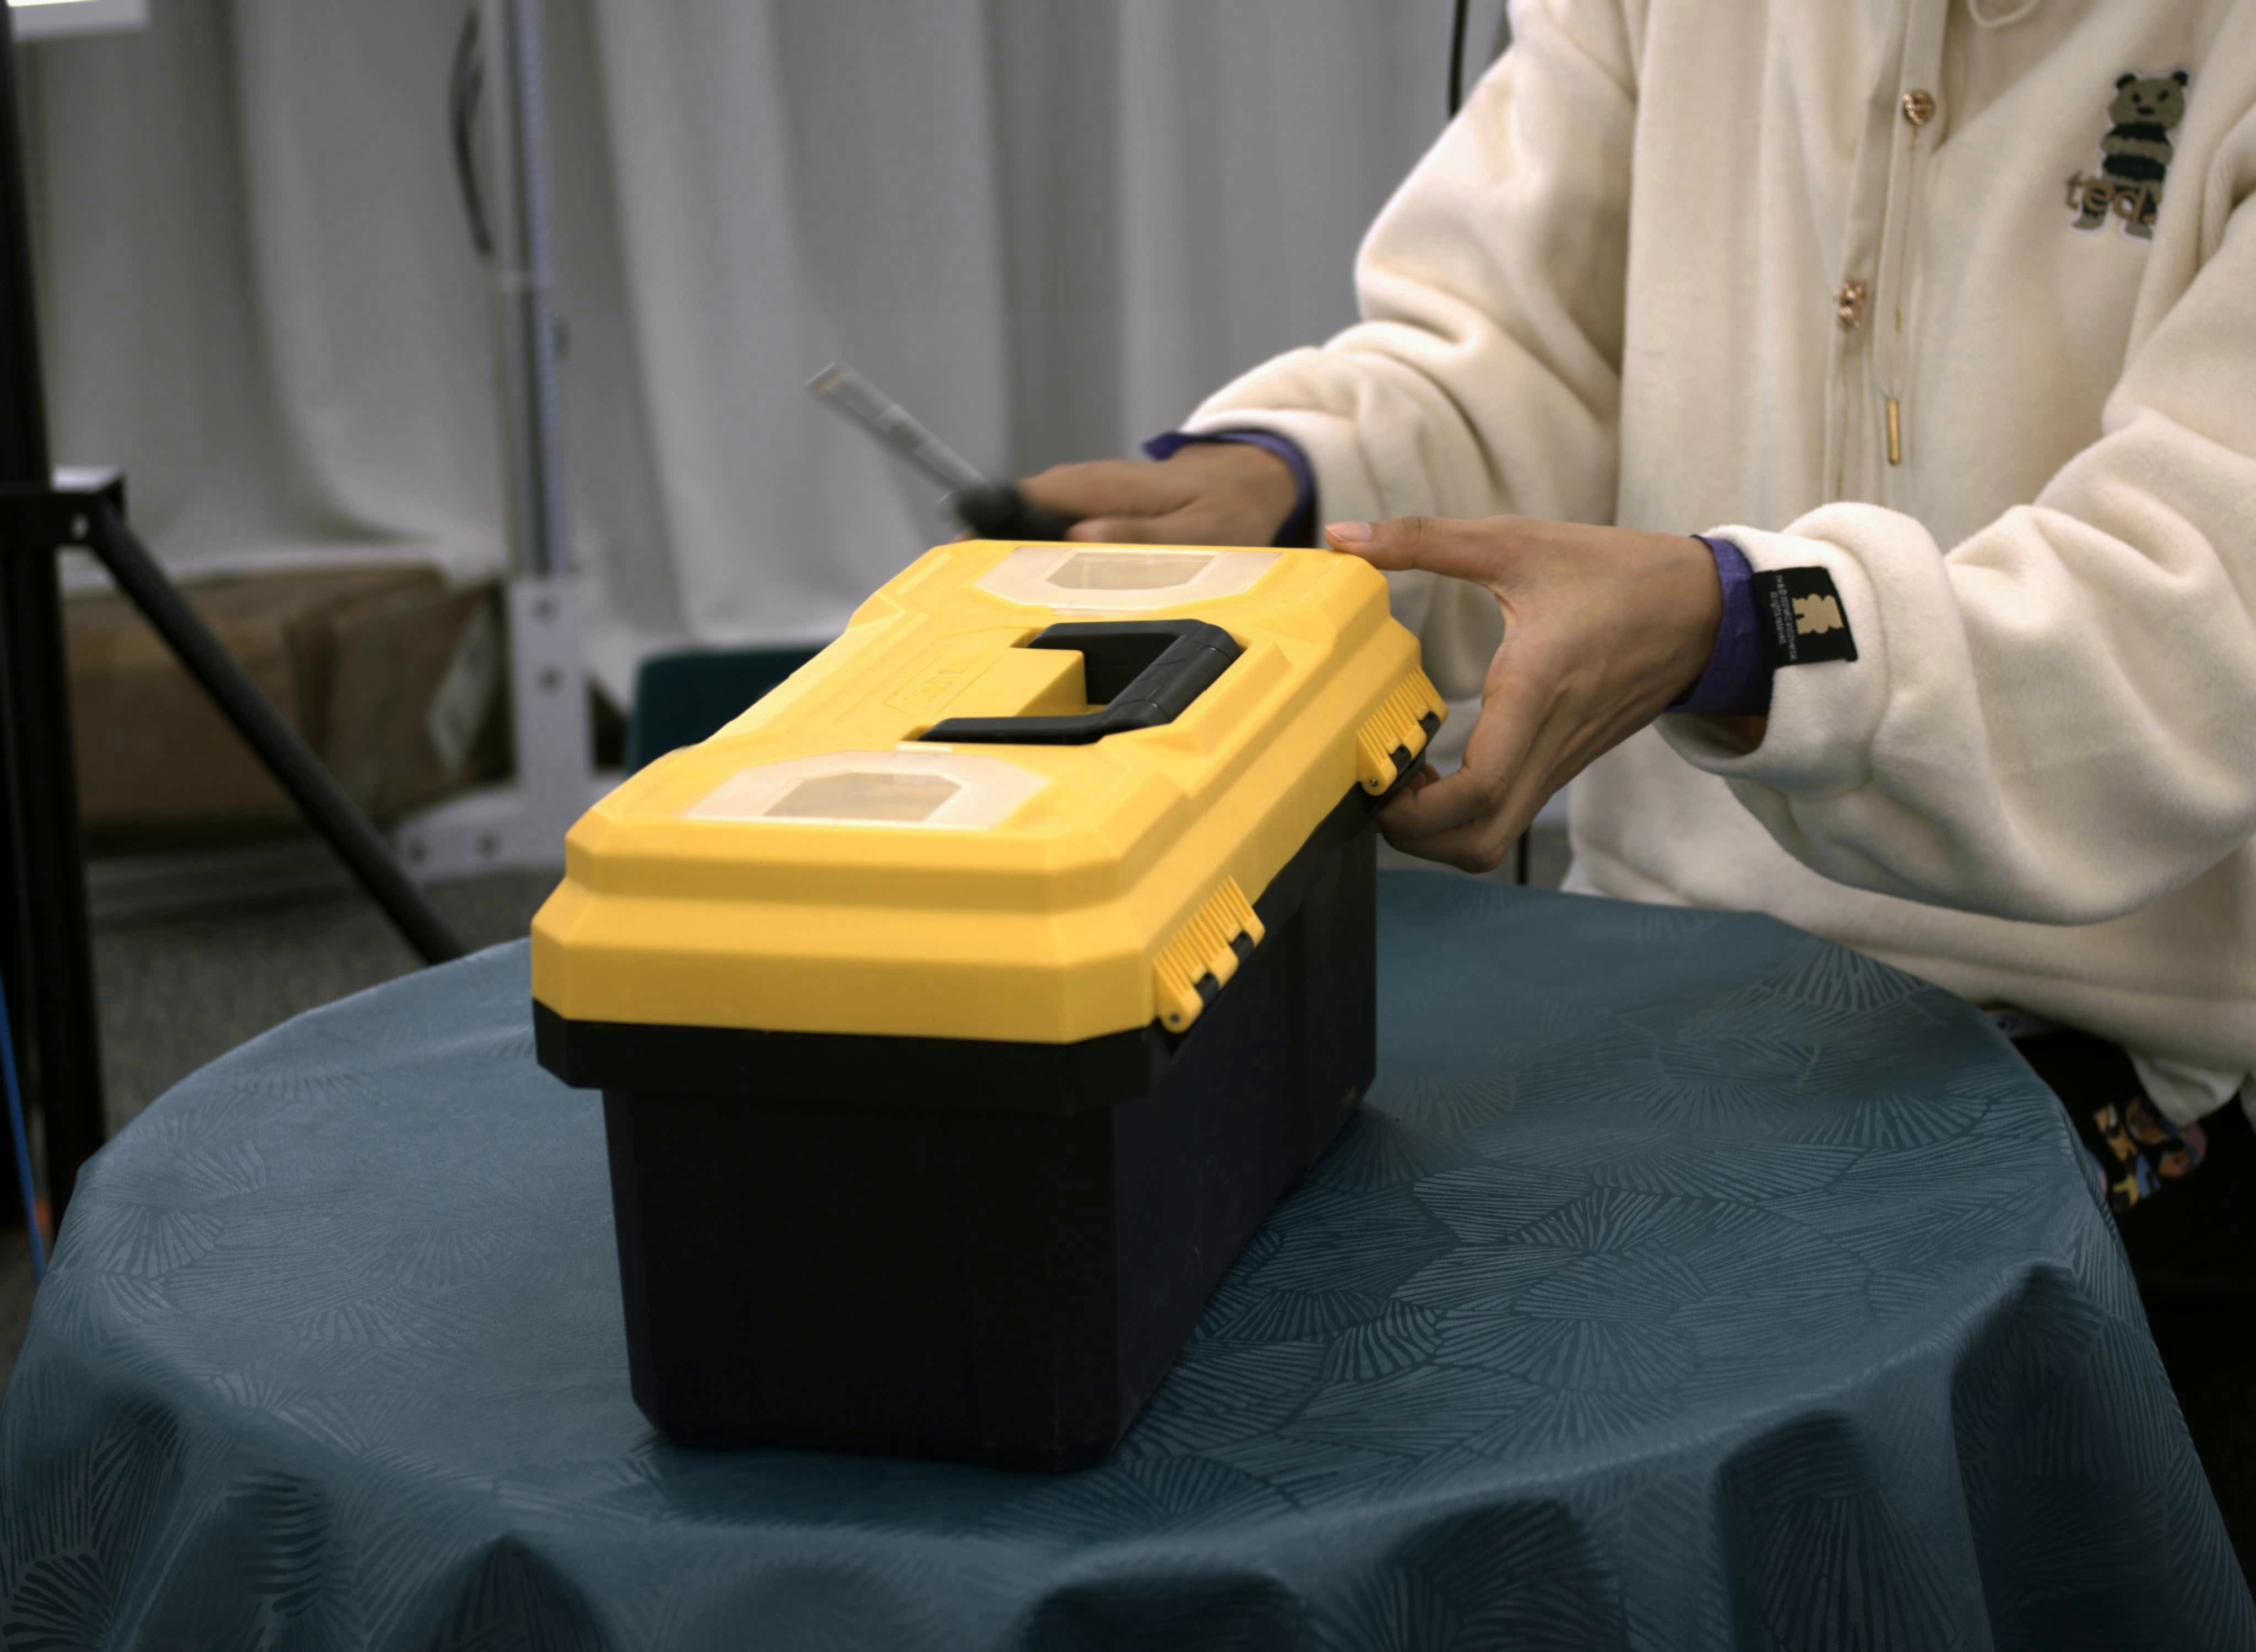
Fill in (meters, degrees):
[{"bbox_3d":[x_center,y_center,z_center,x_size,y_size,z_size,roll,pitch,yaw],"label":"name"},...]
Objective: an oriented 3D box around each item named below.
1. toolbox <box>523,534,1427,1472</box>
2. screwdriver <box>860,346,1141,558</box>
[{"bbox_3d":[-0.031,0.039,1.488,0.183,0.173,0.348,3,16,16],"label":"toolbox"},{"bbox_3d":[-0.042,-0.114,1.733,0.032,0.031,0.192,9,-19,33],"label":"screwdriver"}]
